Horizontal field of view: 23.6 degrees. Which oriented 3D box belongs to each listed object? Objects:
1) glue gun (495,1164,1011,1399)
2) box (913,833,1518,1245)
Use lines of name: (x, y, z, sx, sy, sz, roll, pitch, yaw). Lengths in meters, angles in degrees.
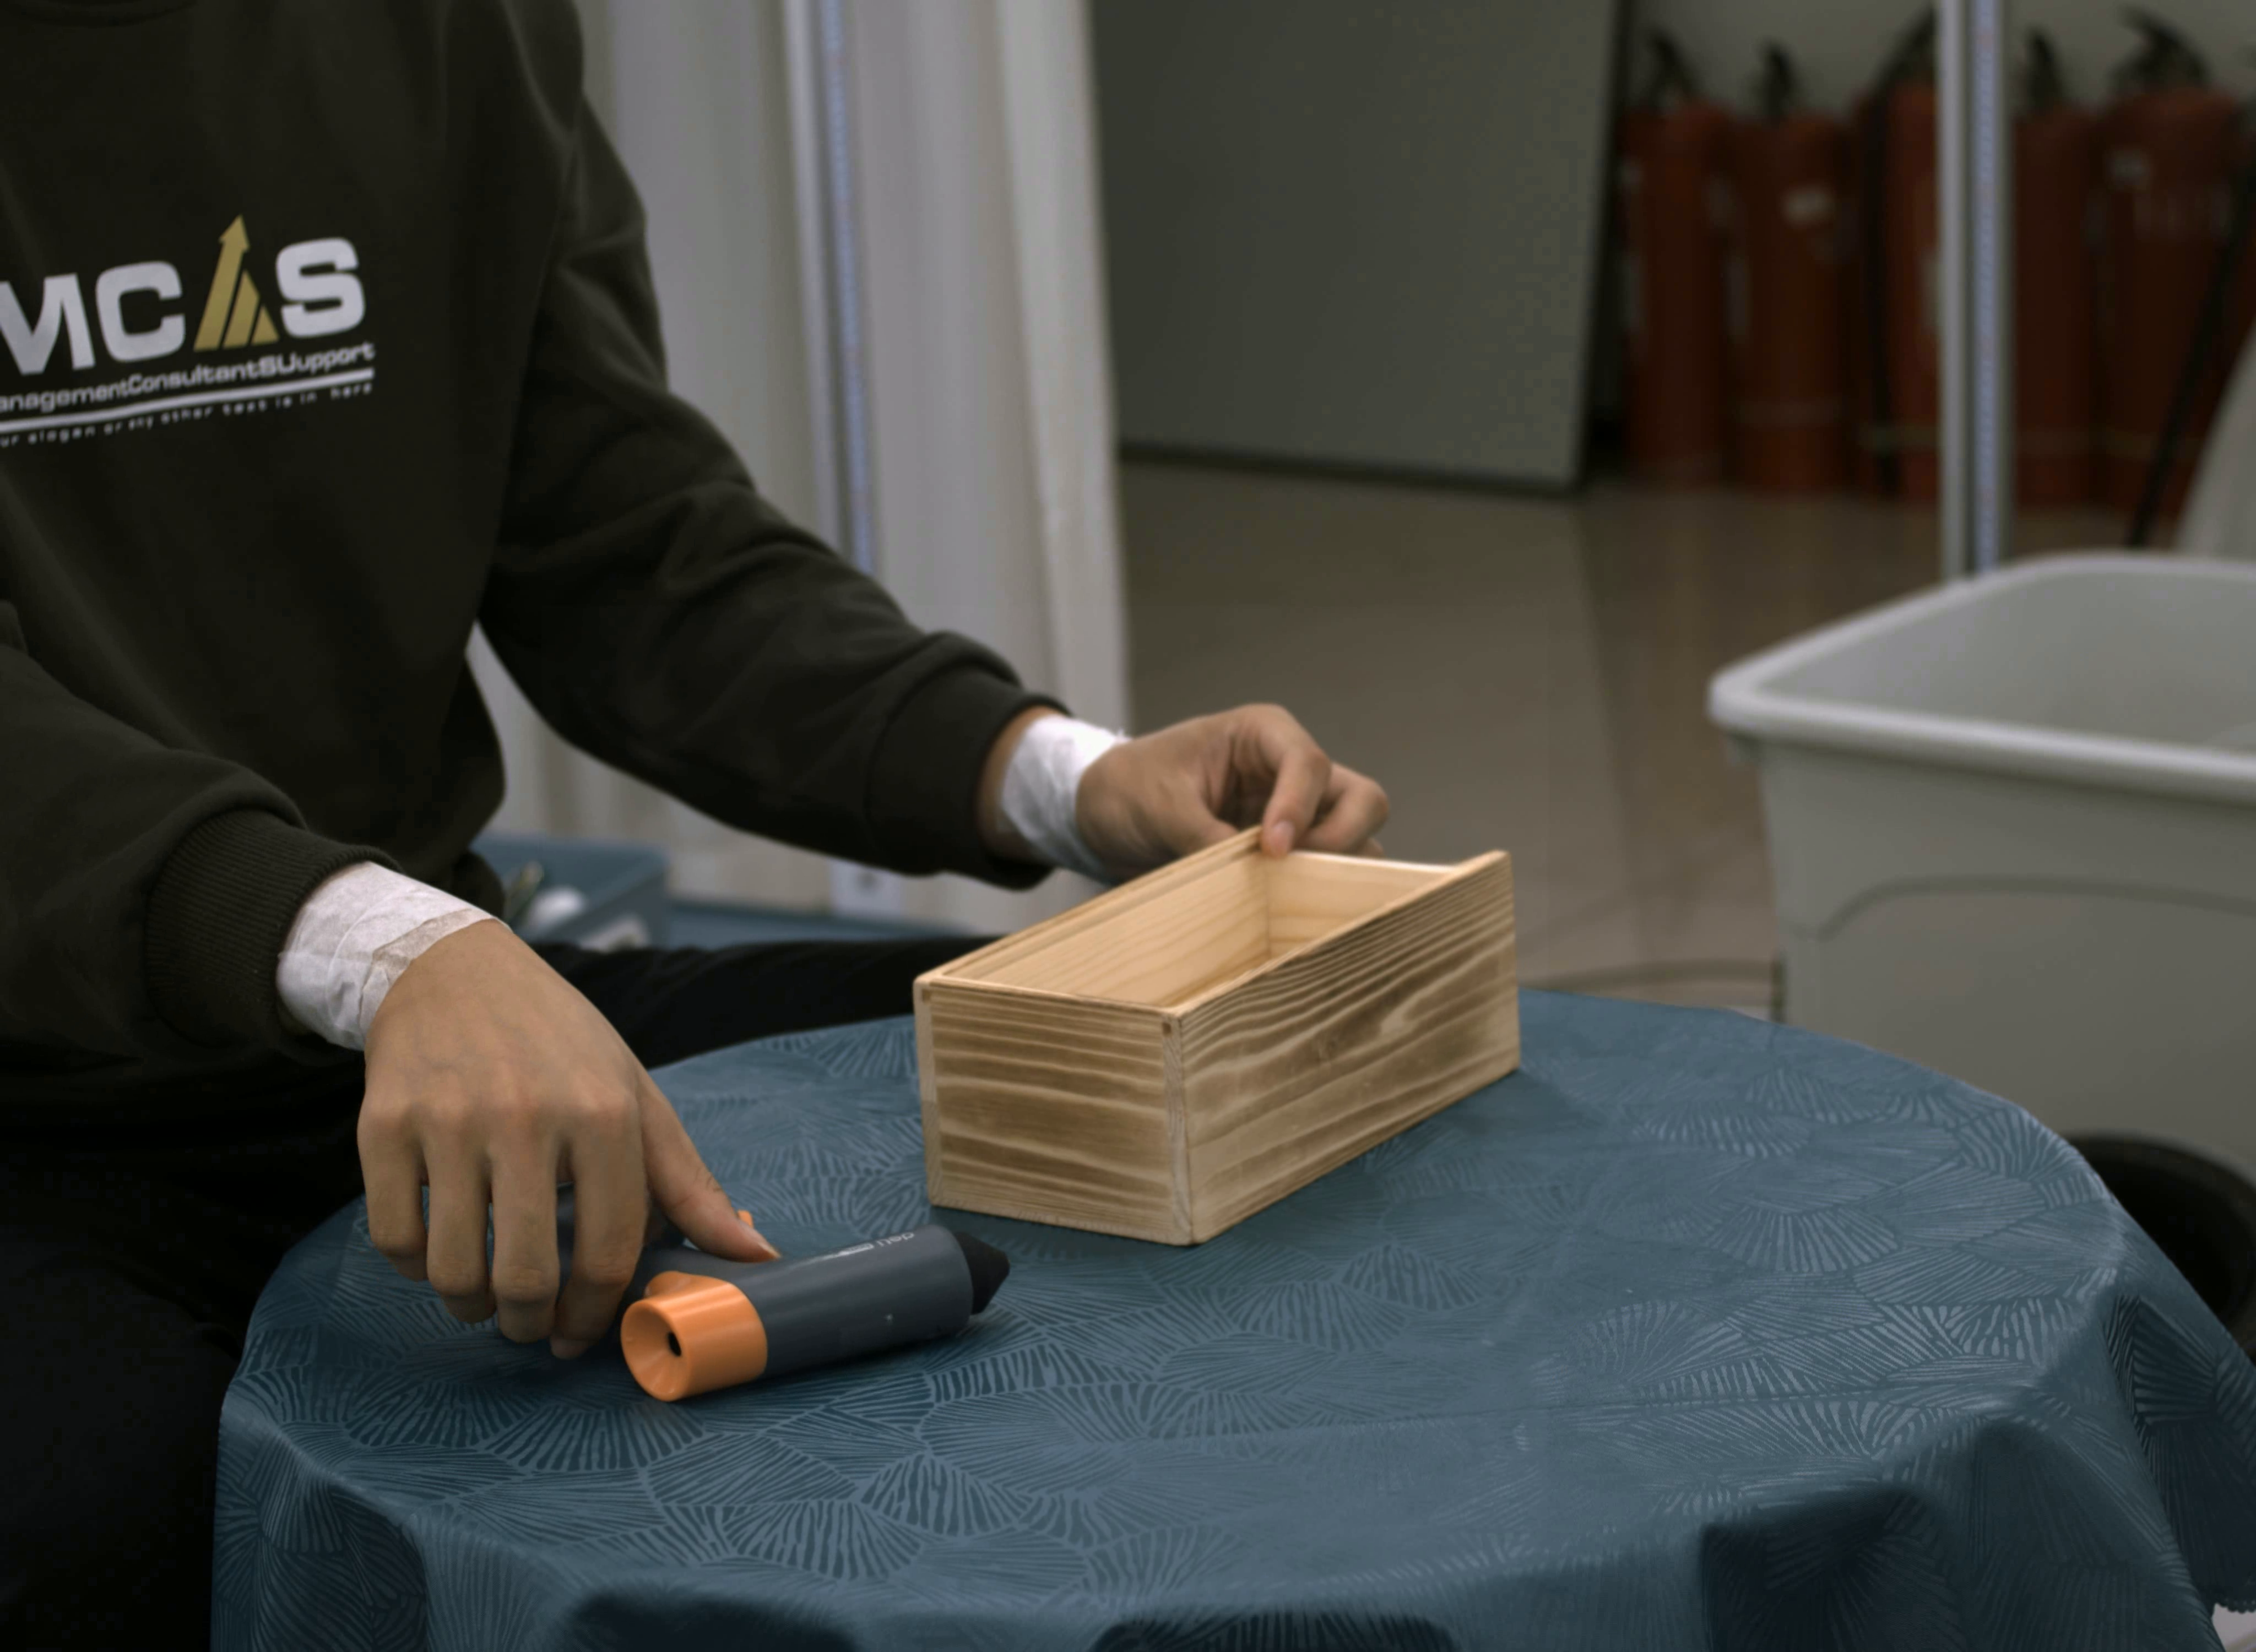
glue gun: (-0.119, 0.141, 1.668, 0.141, 0.041, 0.115, 13, 18, 43)
box: (0.033, 0.068, 1.819, 0.108, 0.081, 0.208, 5, 16, 34)
